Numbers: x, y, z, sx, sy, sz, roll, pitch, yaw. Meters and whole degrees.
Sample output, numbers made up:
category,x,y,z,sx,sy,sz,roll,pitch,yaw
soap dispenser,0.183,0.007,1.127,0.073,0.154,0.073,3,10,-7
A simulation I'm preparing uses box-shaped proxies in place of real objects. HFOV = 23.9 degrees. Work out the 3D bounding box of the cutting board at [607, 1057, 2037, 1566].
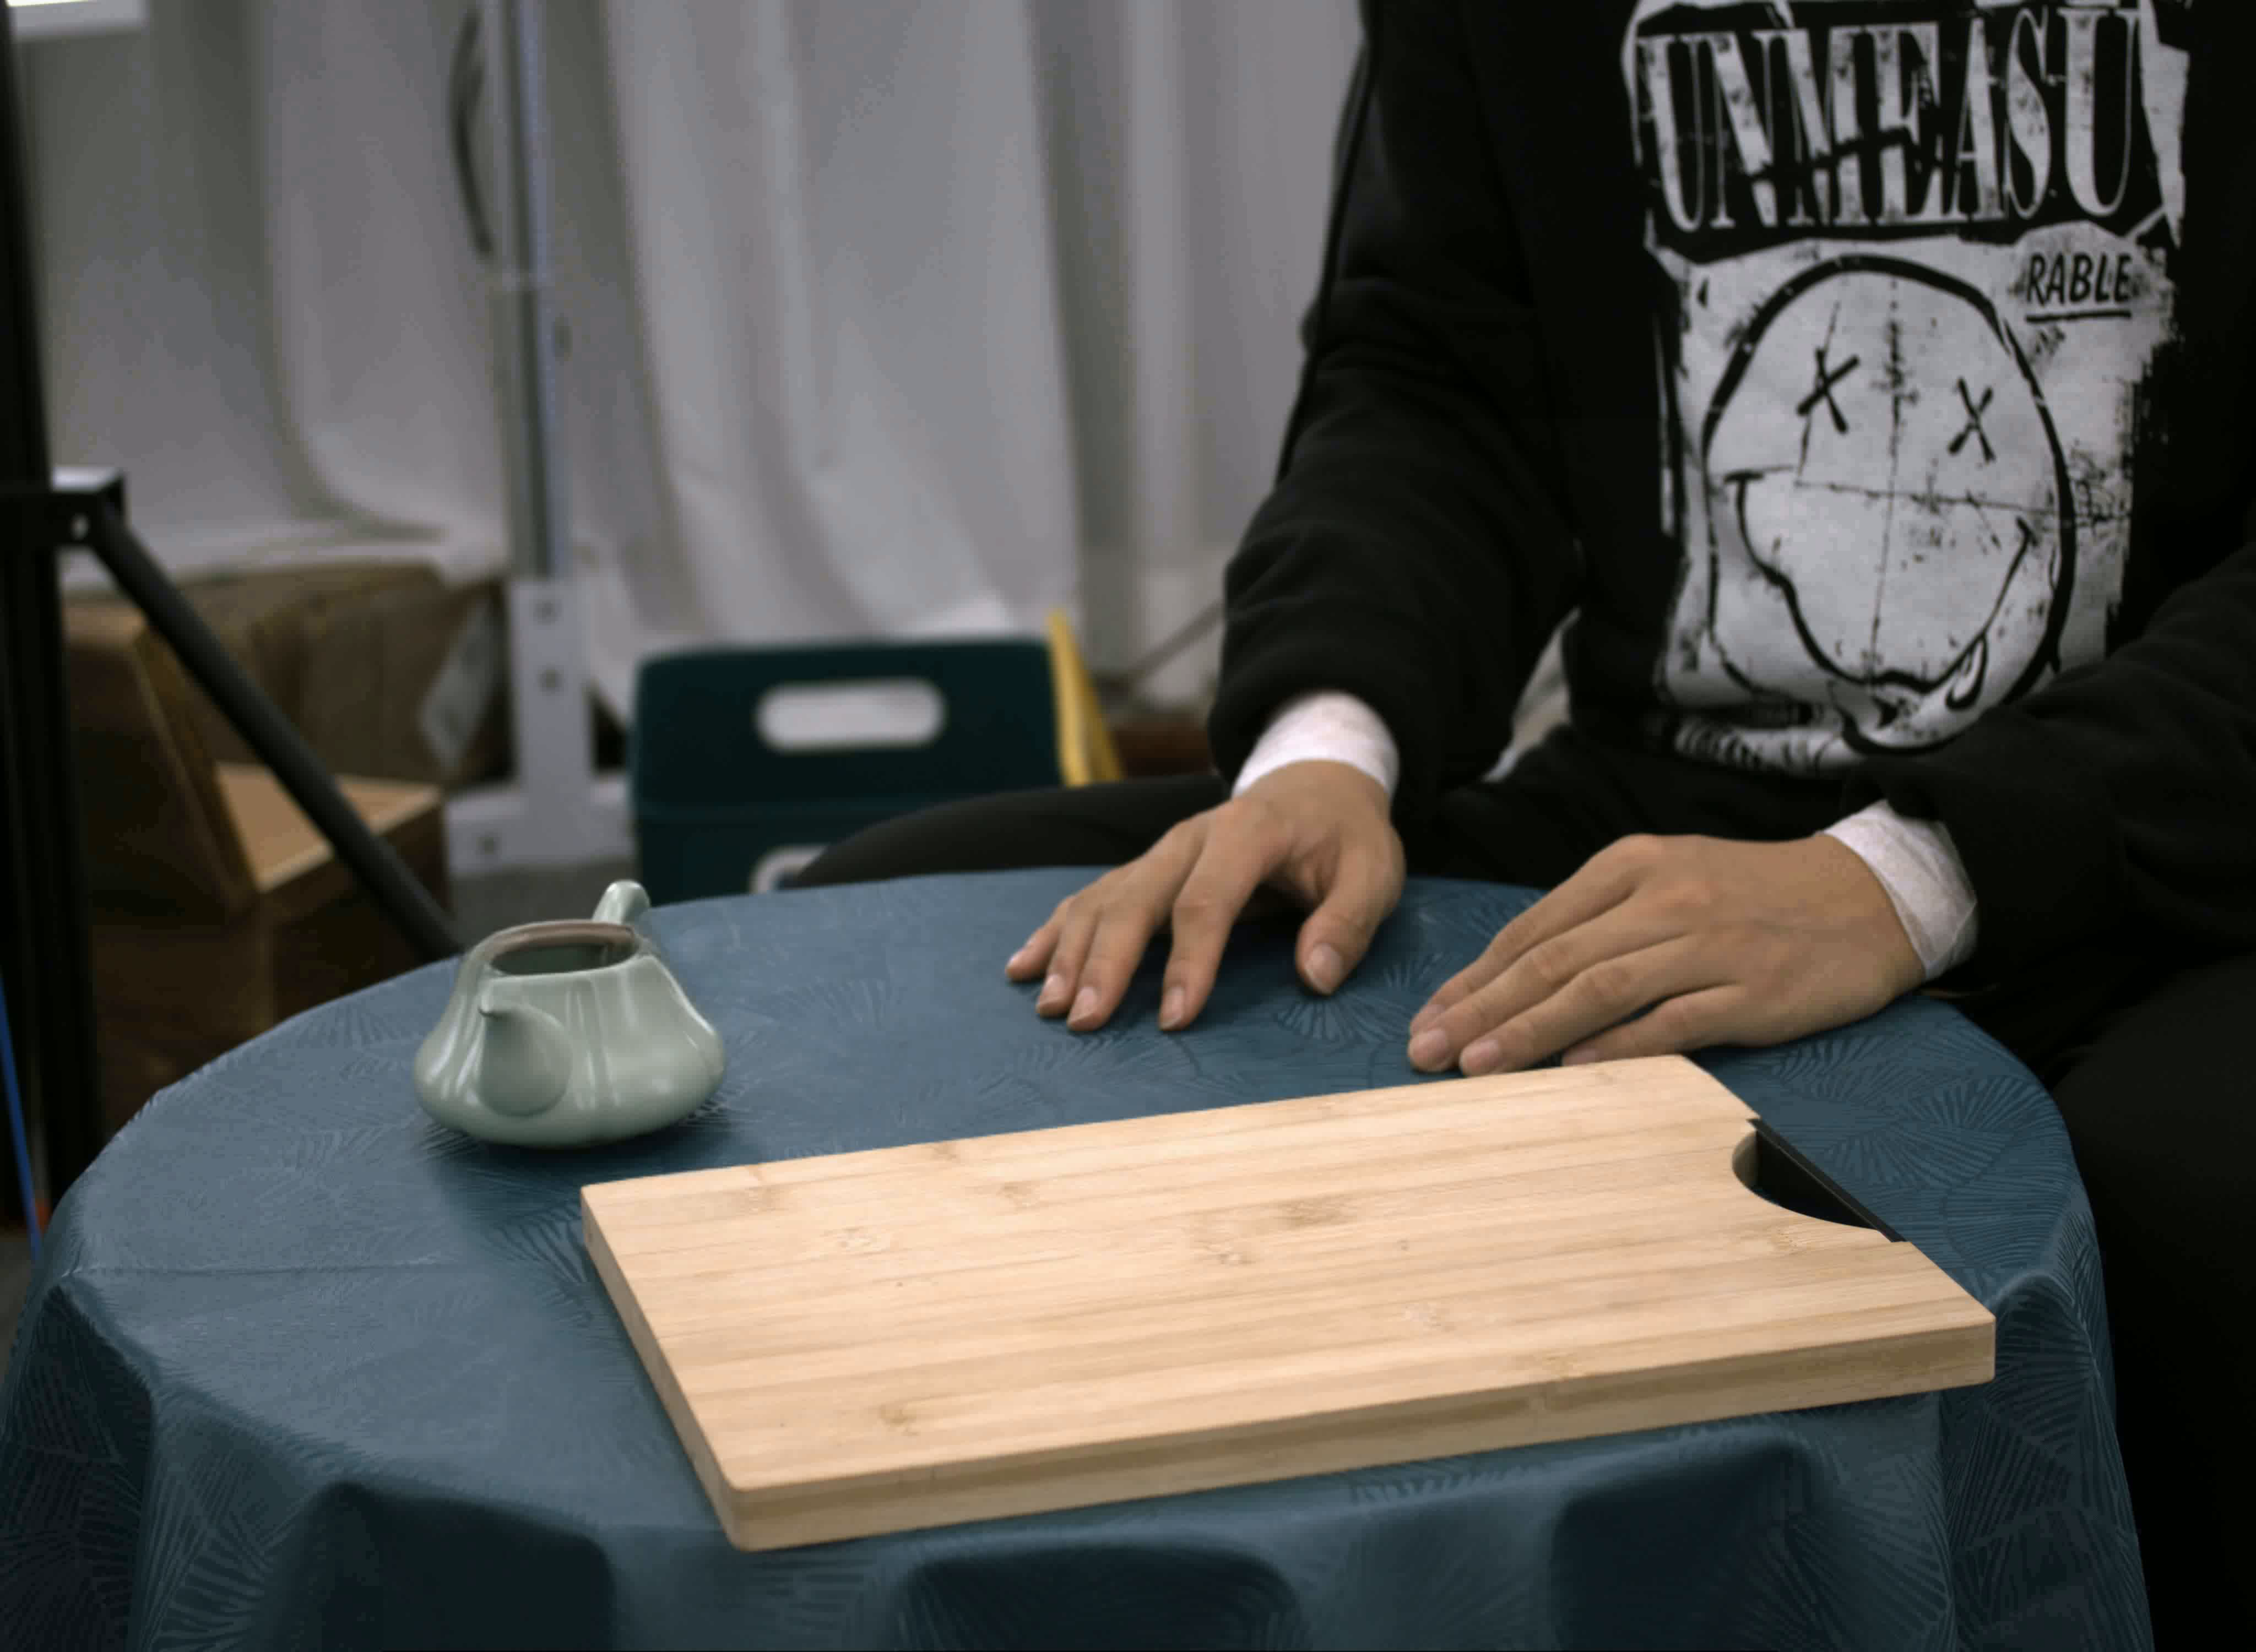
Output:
category,x,y,z,sx,sy,sz,roll,pitch,yaw
cutting board,0.041,0.126,1.456,0.343,0.023,0.254,-6,16,-13

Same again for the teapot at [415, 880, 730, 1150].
category,x,y,z,sx,sy,sz,roll,pitch,yaw
teapot,-0.170,0.061,1.638,0.097,0.061,0.136,0,16,13
